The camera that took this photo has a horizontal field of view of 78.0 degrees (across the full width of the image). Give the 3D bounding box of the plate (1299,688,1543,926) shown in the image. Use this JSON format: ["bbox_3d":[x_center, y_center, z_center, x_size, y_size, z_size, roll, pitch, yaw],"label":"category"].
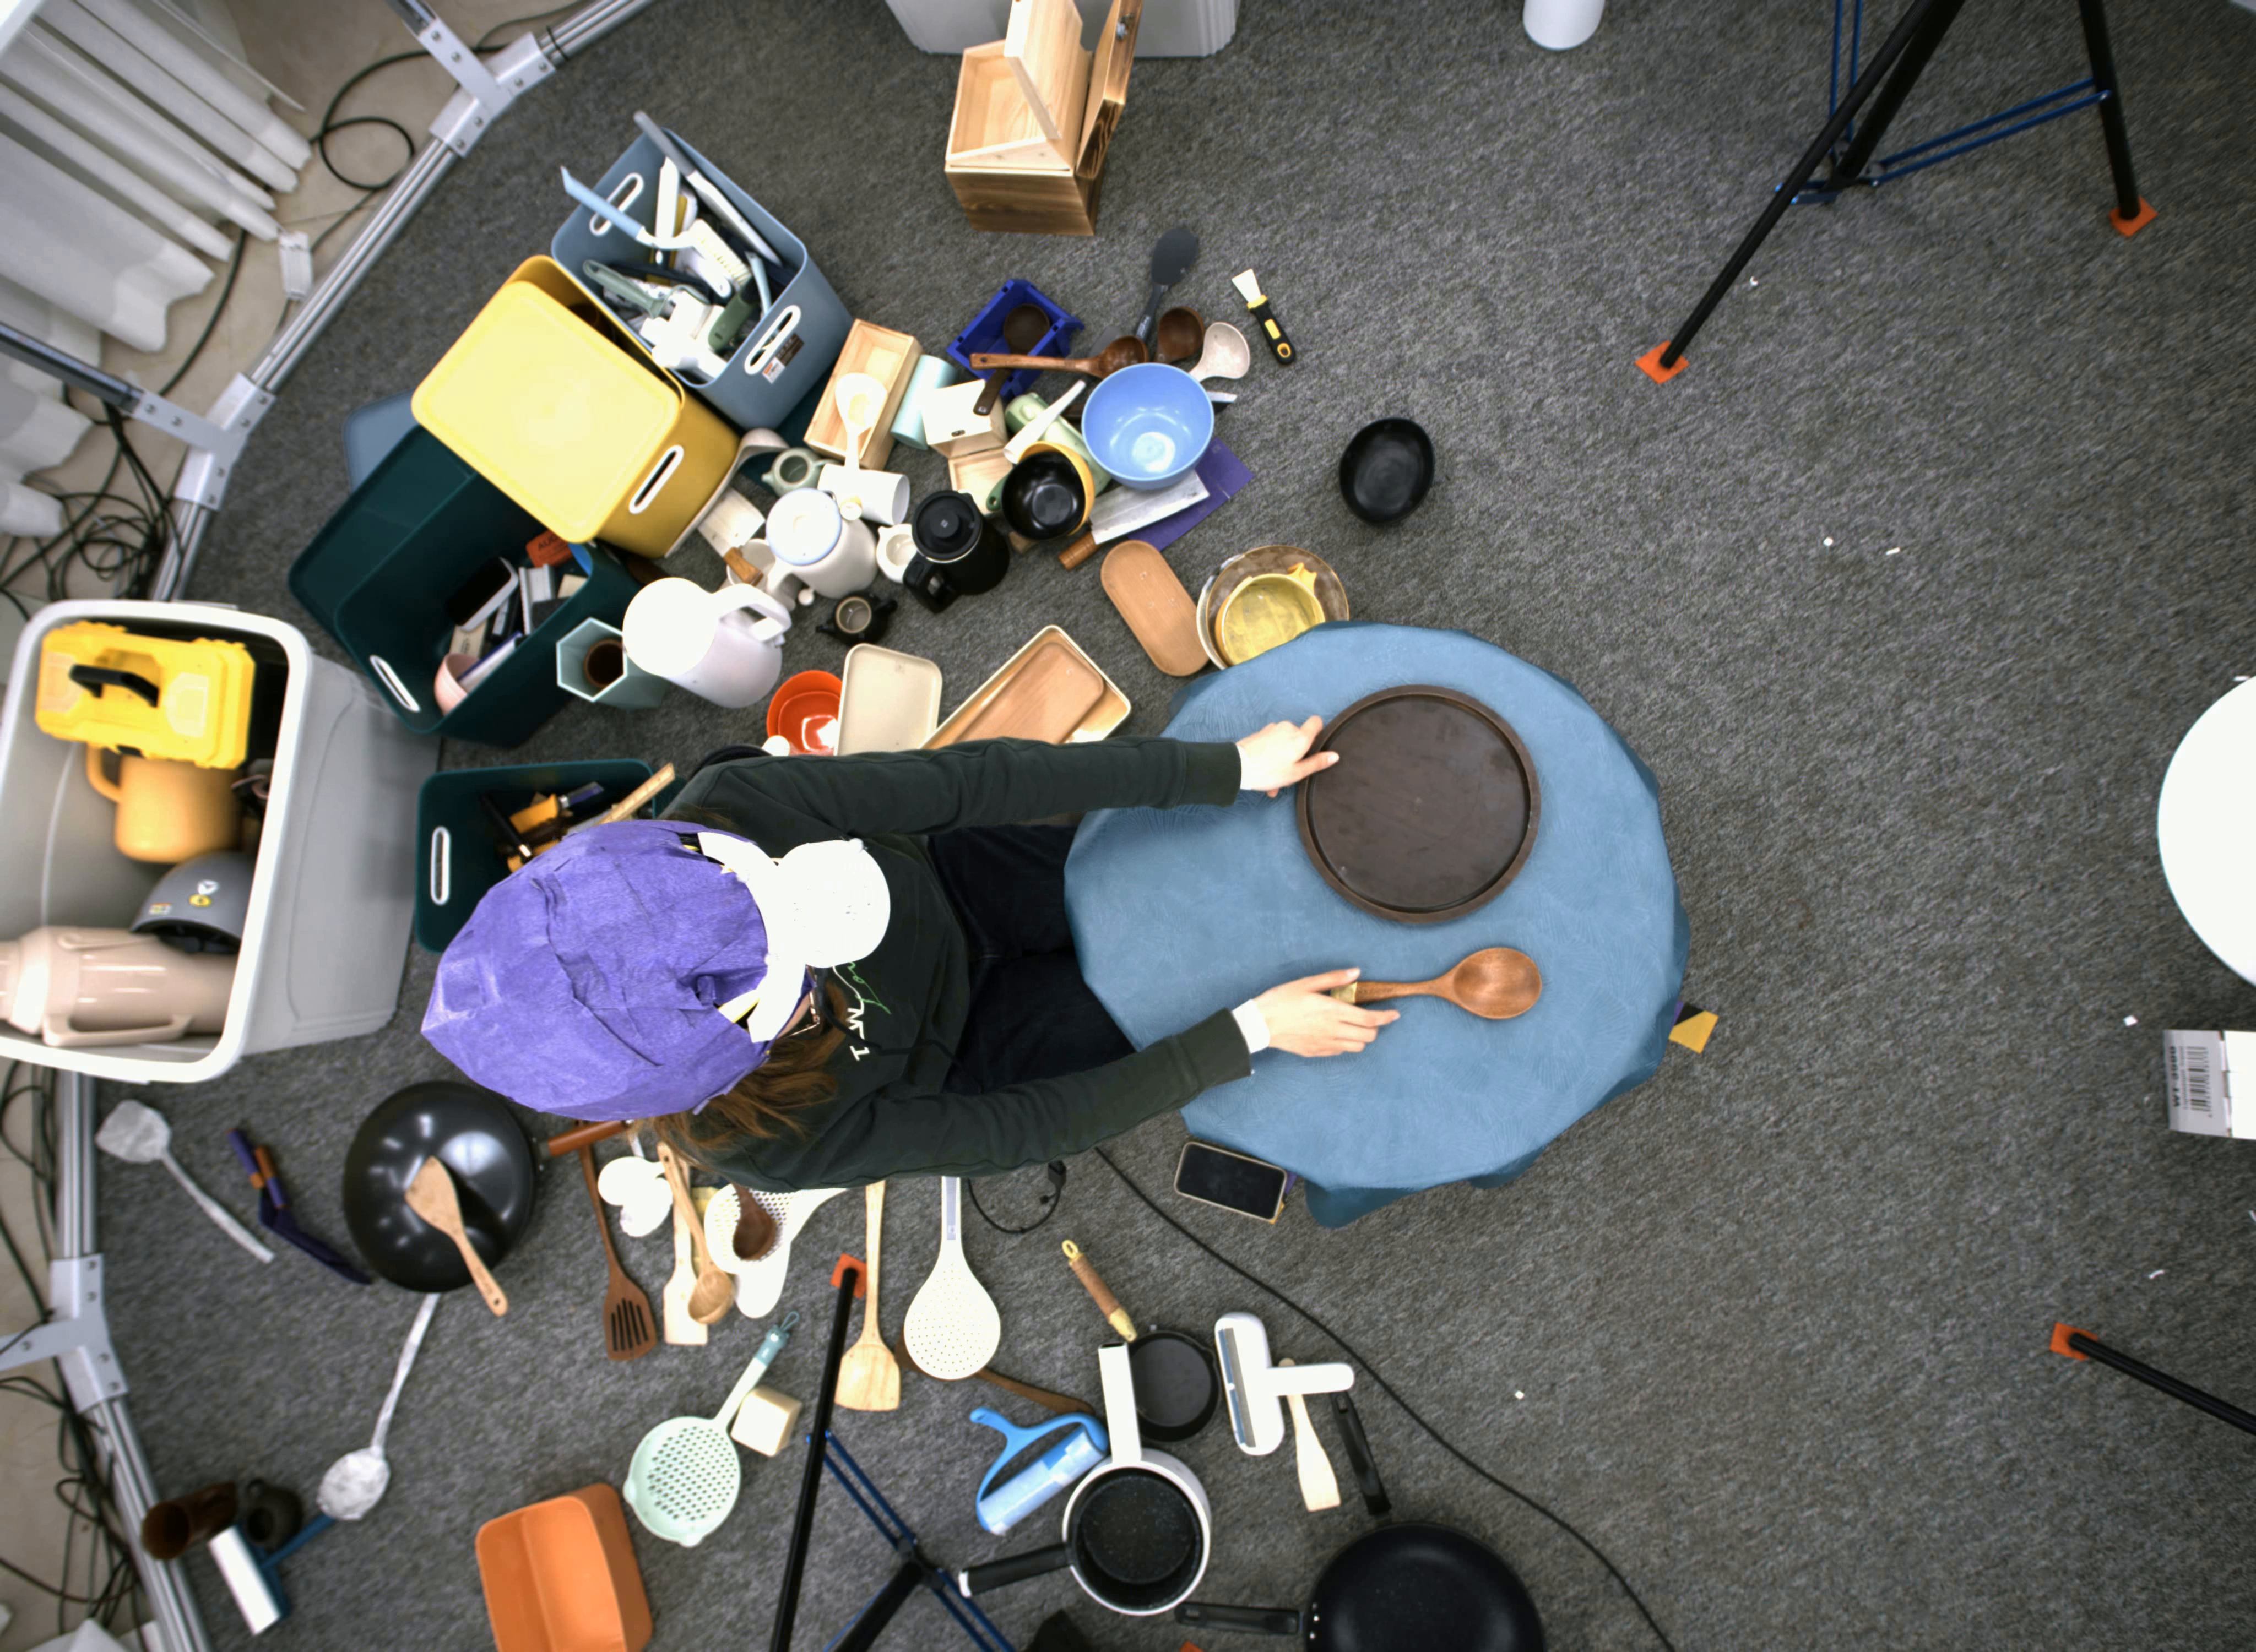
[{"bbox_3d":[0.307,-0.022,1.453,0.256,0.029,0.253,-1,85,9],"label":"plate"}]

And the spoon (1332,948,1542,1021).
[{"bbox_3d":[0.321,0.169,1.440,0.217,0.017,0.075,-6,85,10],"label":"spoon"}]
